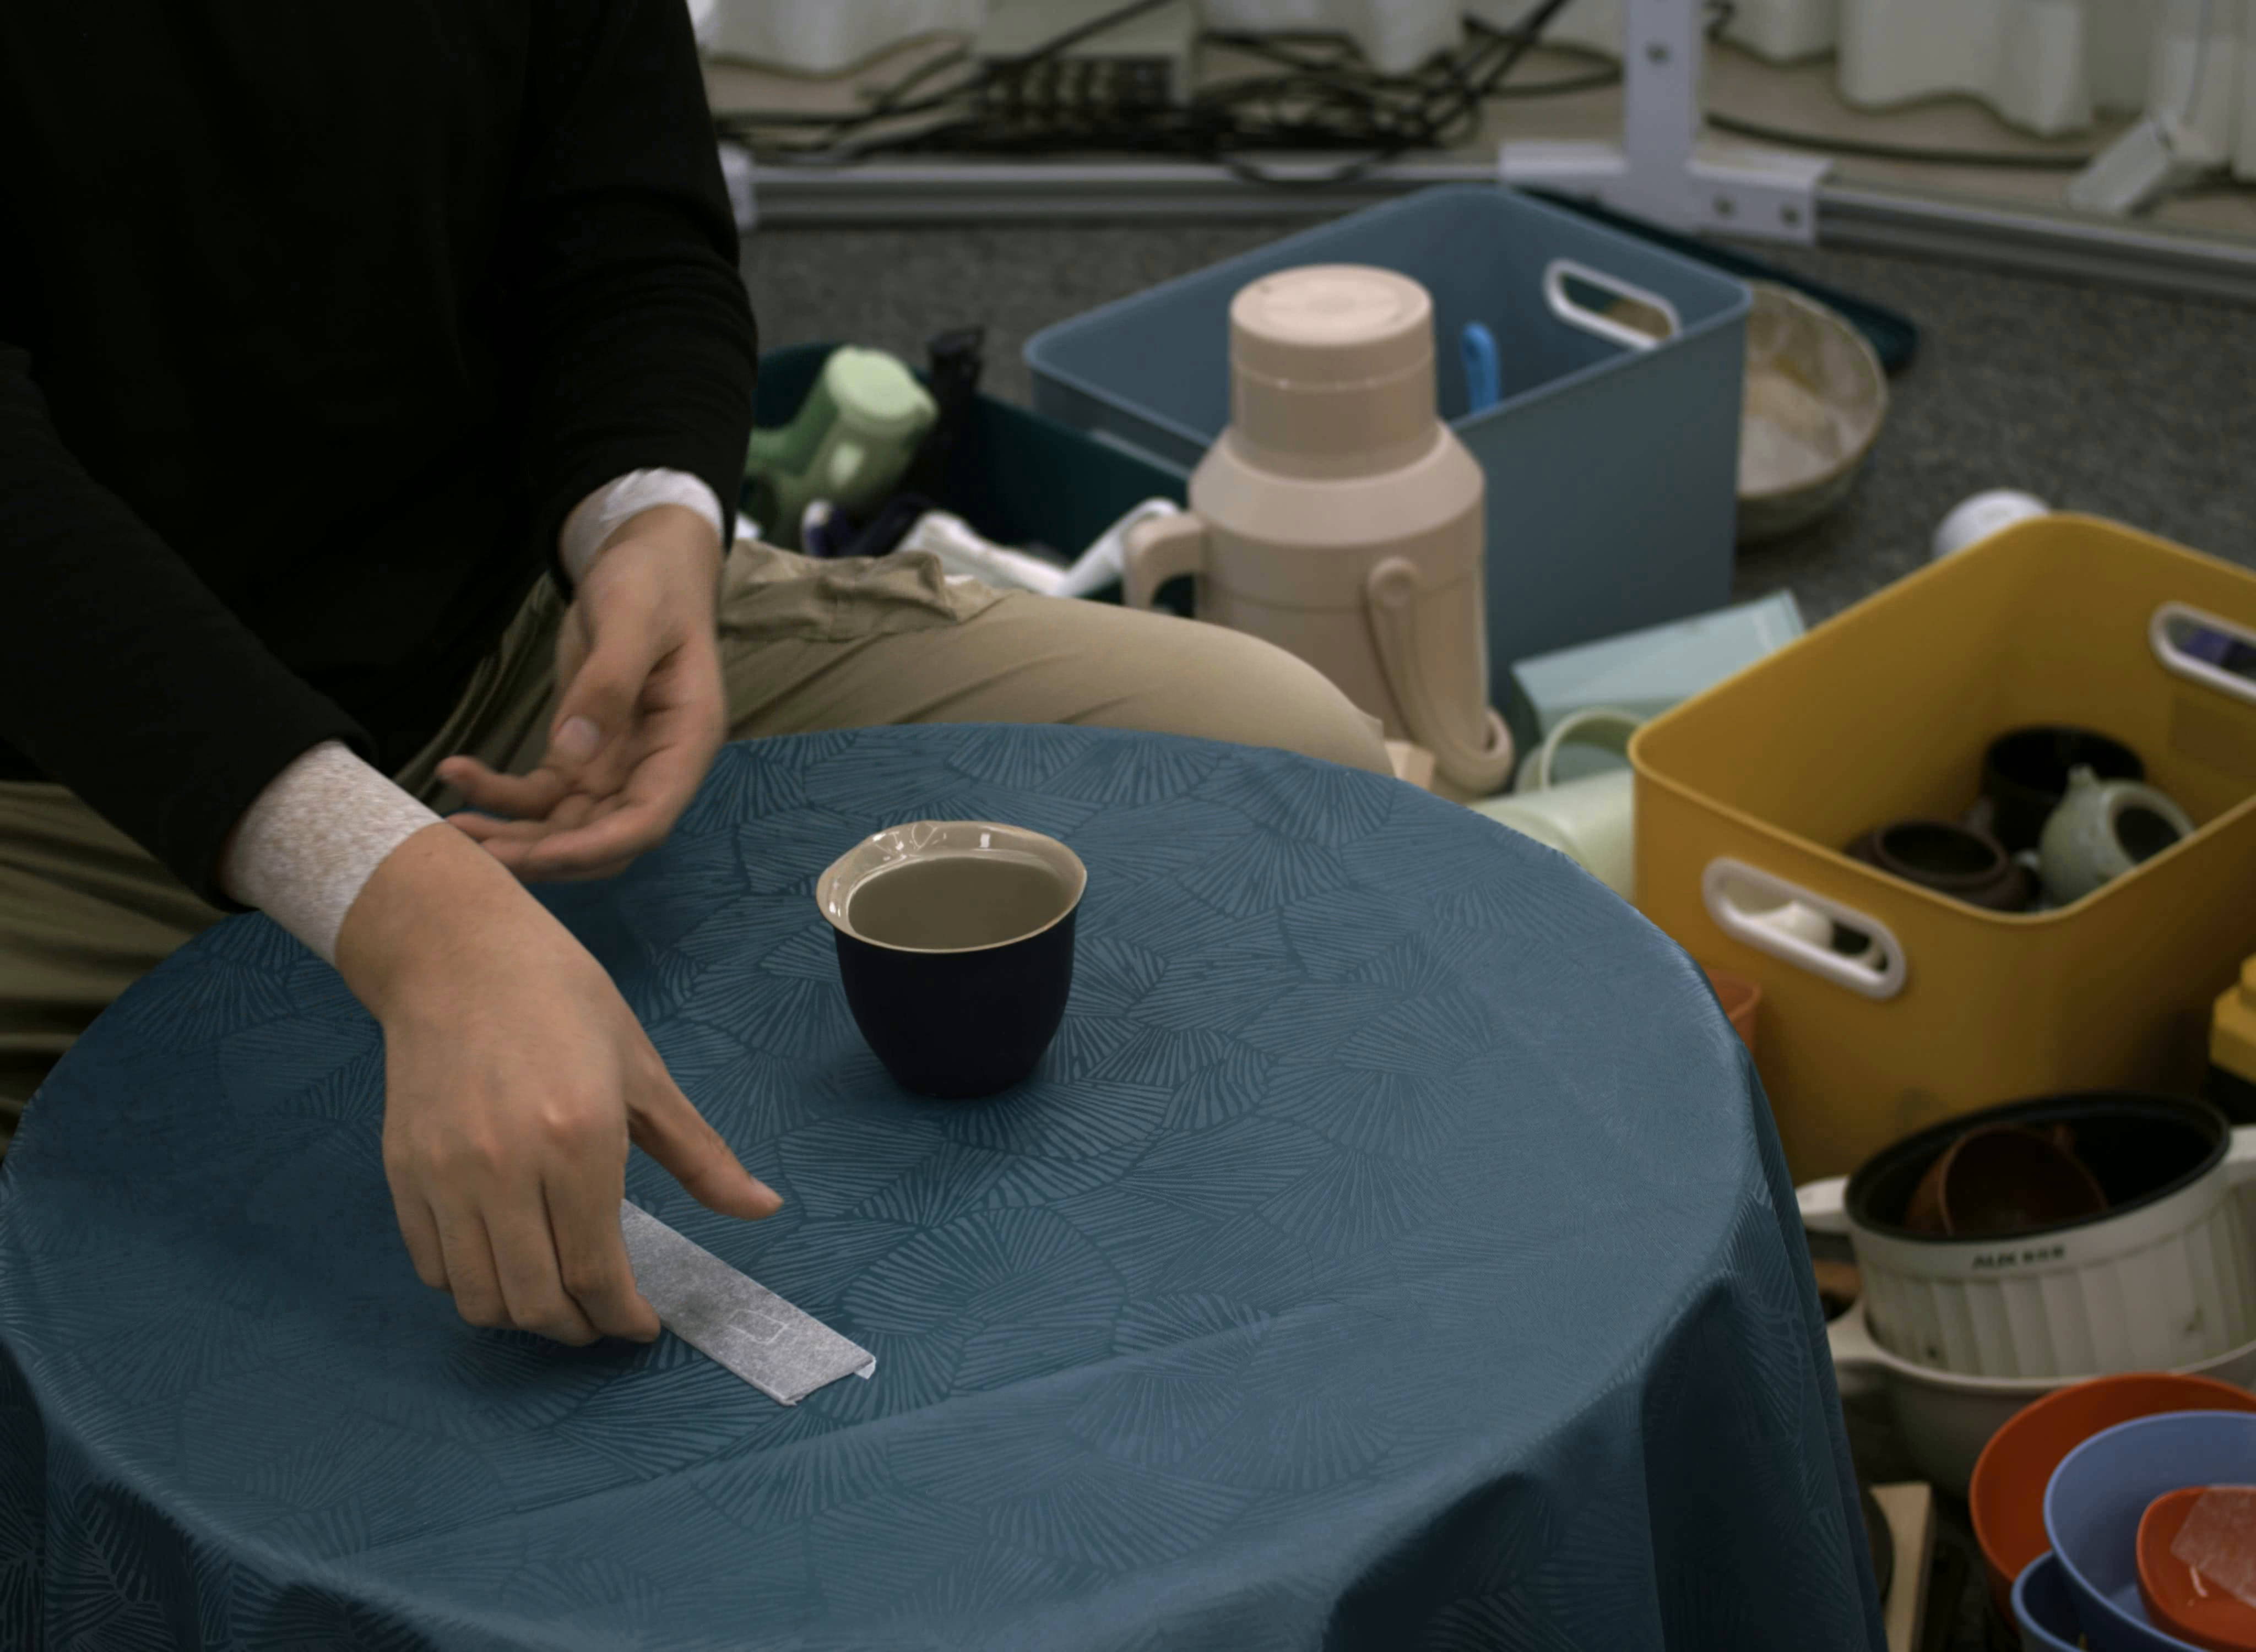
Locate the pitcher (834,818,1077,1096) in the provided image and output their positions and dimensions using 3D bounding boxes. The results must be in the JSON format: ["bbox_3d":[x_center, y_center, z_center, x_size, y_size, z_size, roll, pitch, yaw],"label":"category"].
[{"bbox_3d":[-0.060,0.048,1.931,0.084,0.070,0.096,-14,30,-20],"label":"pitcher"}]

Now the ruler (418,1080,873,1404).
[{"bbox_3d":[-0.164,0.132,1.833,0.039,0.024,0.218,-31,36,-29],"label":"ruler"}]
